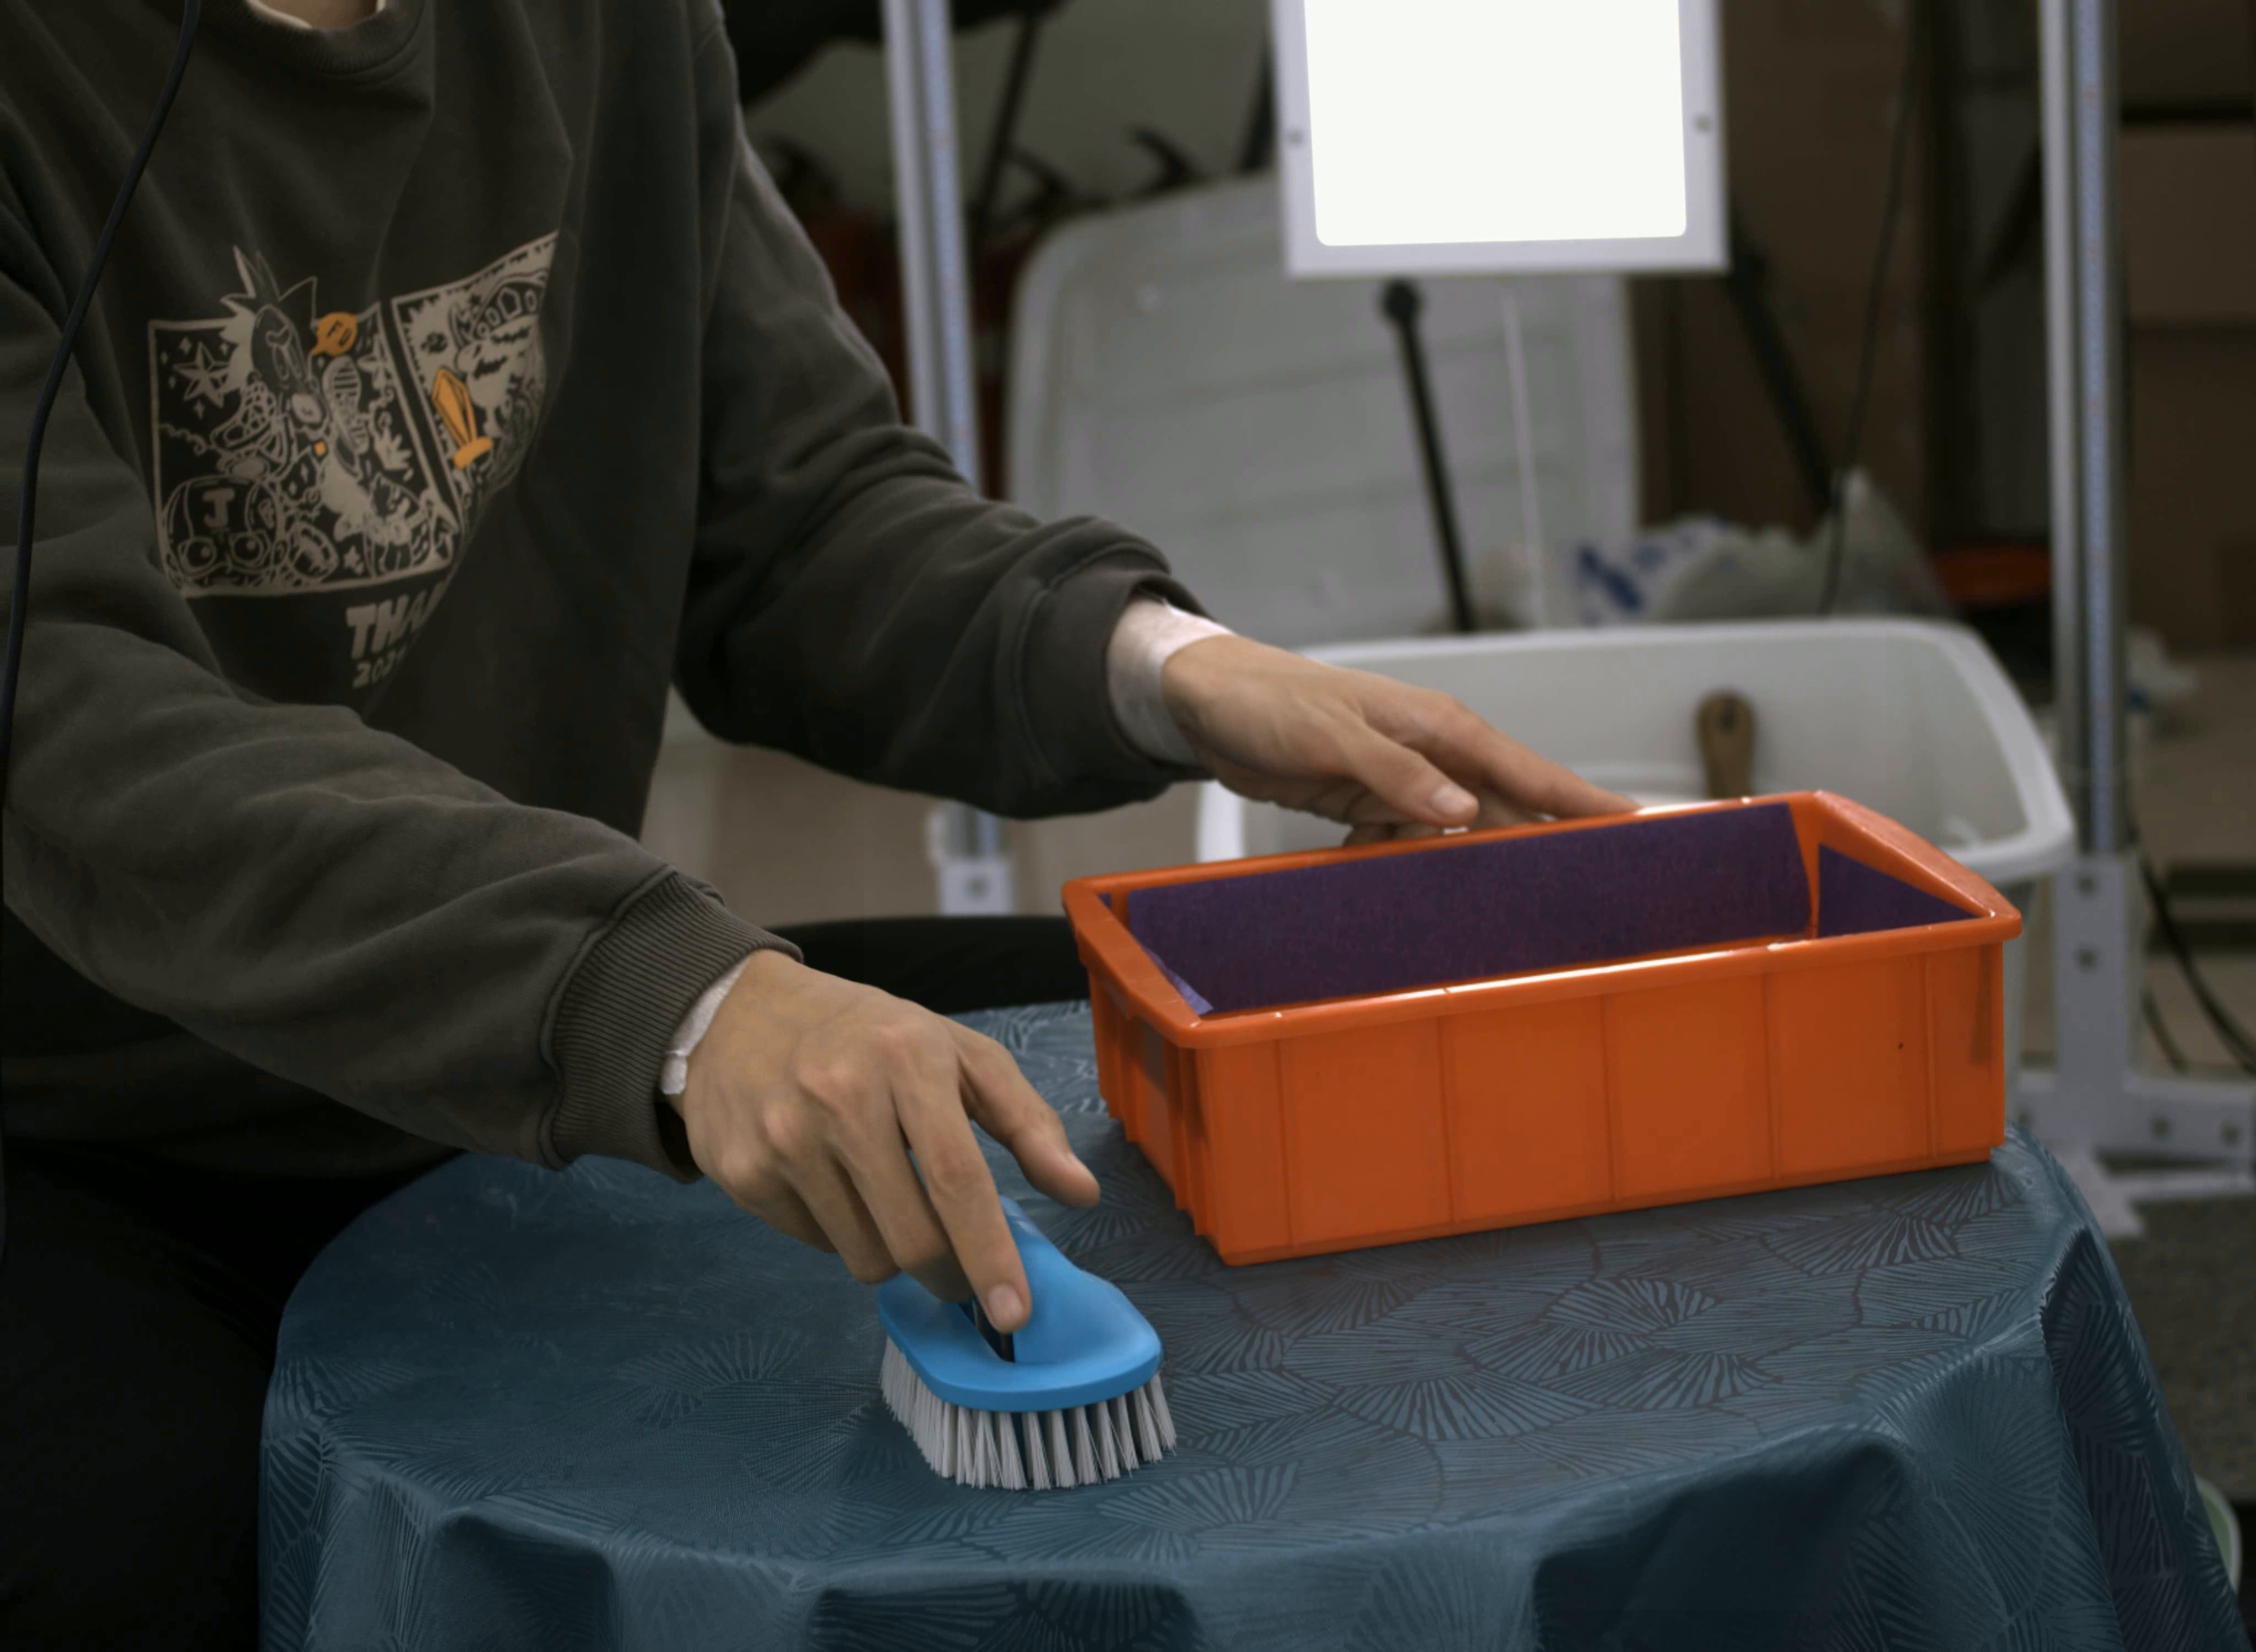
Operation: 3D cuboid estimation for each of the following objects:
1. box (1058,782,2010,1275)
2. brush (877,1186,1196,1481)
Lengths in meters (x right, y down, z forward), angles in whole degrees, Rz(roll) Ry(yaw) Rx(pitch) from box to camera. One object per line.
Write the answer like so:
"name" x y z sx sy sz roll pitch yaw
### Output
"box" 0.139 0.068 1.904 0.300 0.097 0.208 -7 14 -8
"brush" -0.032 0.148 1.684 0.083 0.064 0.143 -12 14 -10
